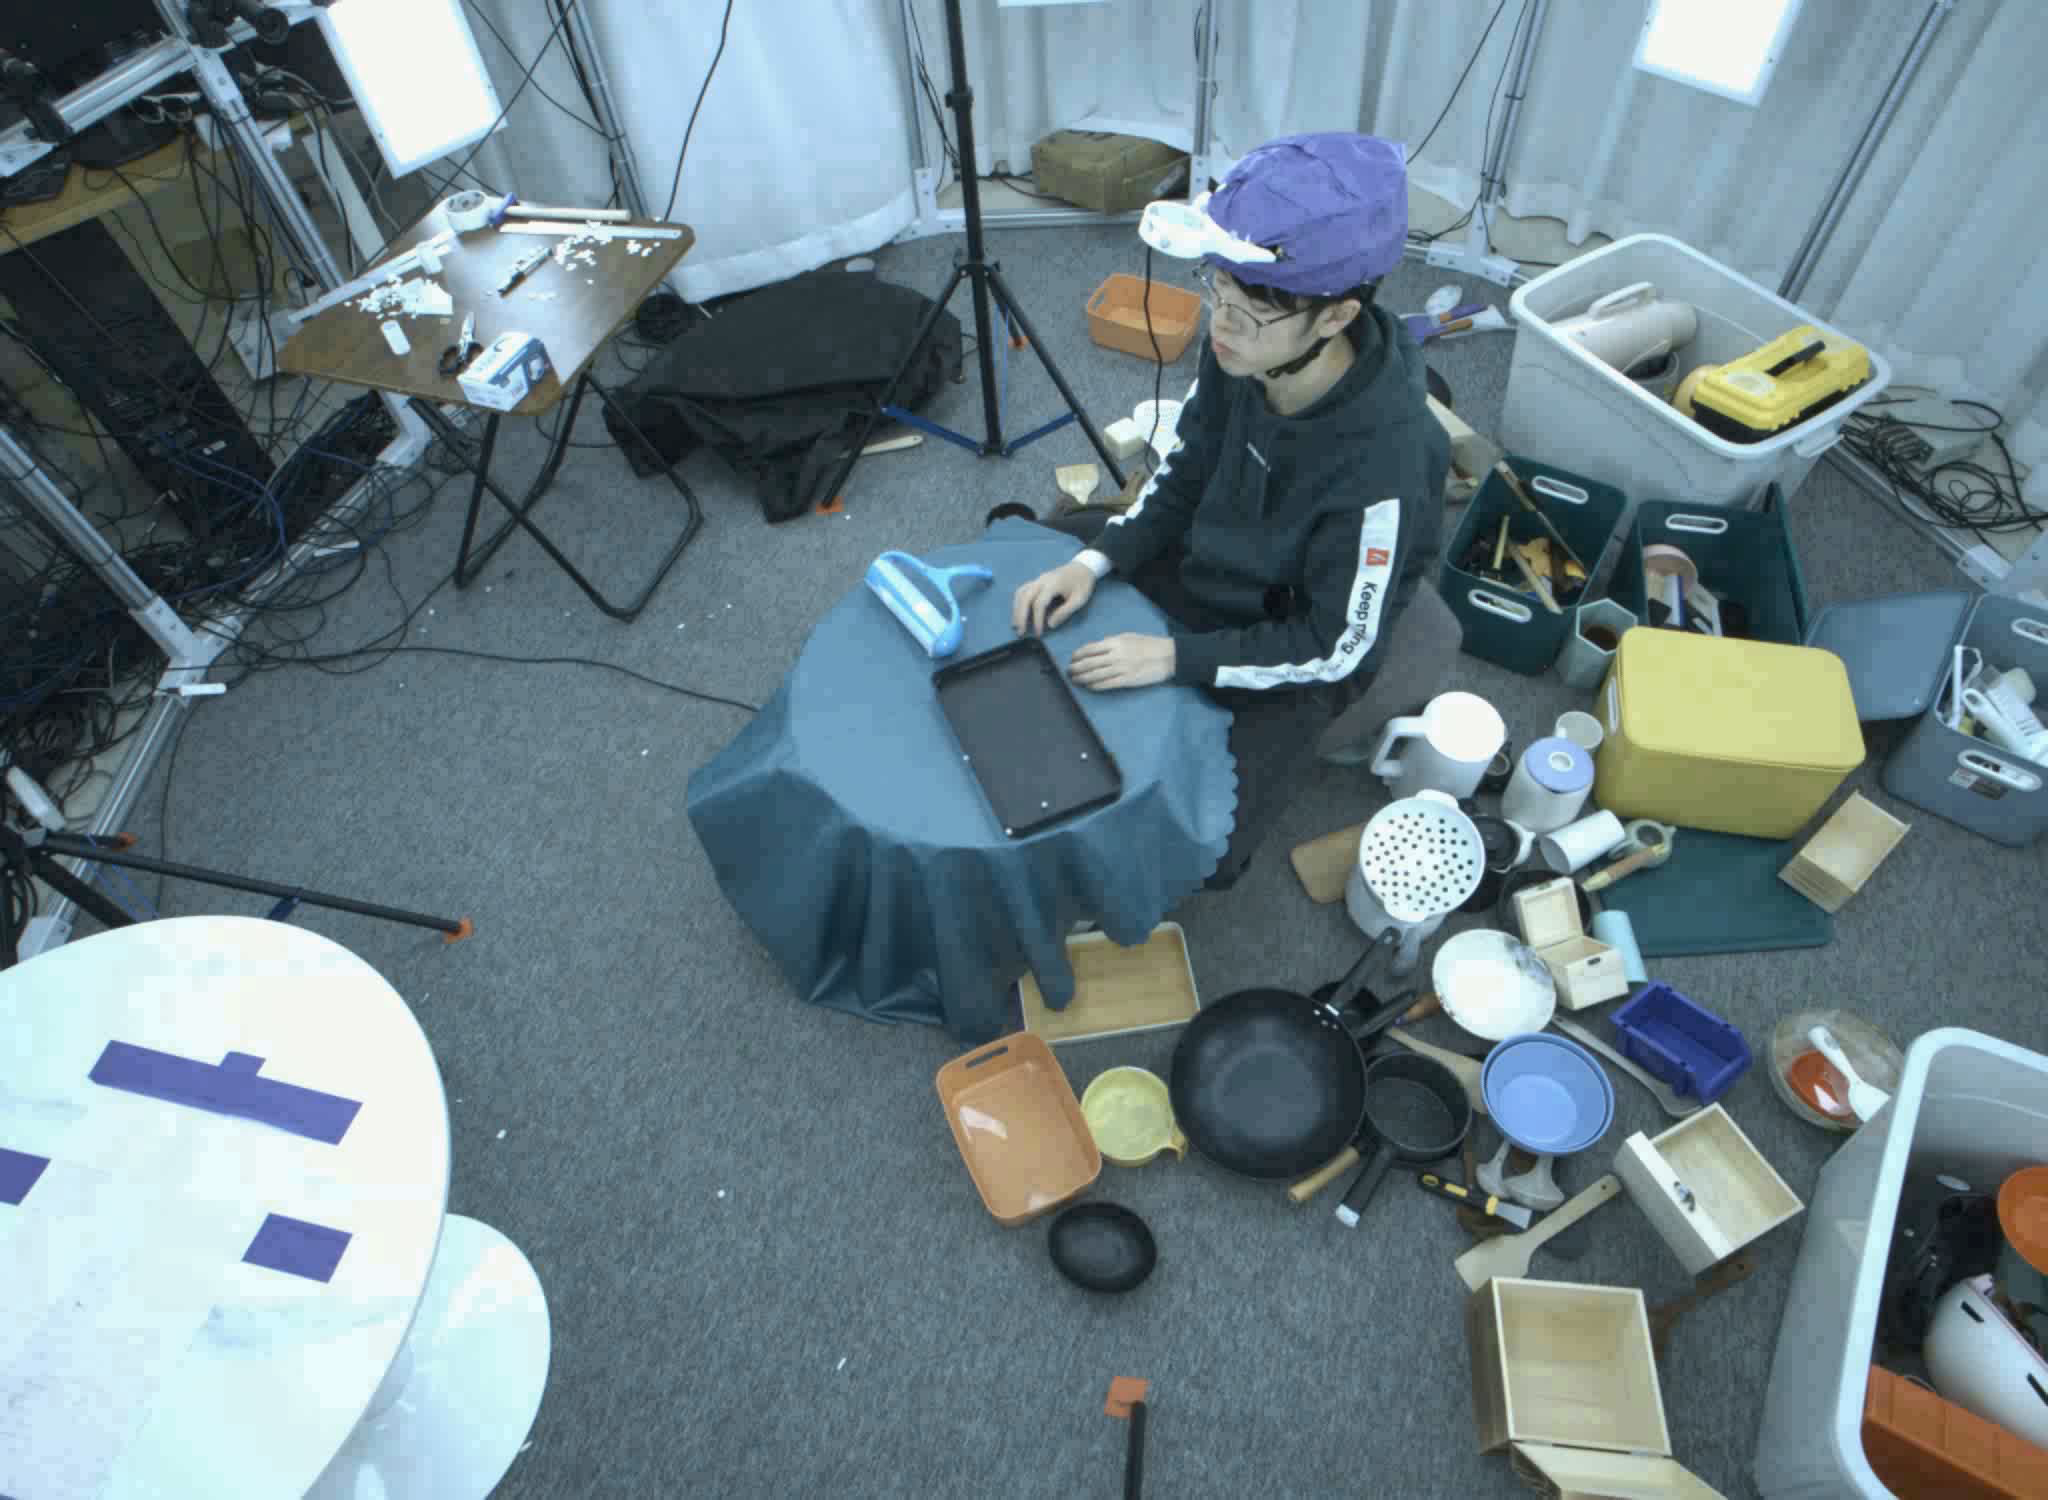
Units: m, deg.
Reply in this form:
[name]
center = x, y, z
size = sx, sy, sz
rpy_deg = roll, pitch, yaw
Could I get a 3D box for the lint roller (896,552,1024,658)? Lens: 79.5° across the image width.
[lint roller]
center = -0.081, -0.254, 1.930
size = 0.181, 0.069, 0.224
rpy_deg = -33, 58, -18

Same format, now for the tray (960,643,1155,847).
[tray]
center = 0.044, -0.014, 1.771
size = 0.185, 0.037, 0.312
rpy_deg = -20, 55, -12
